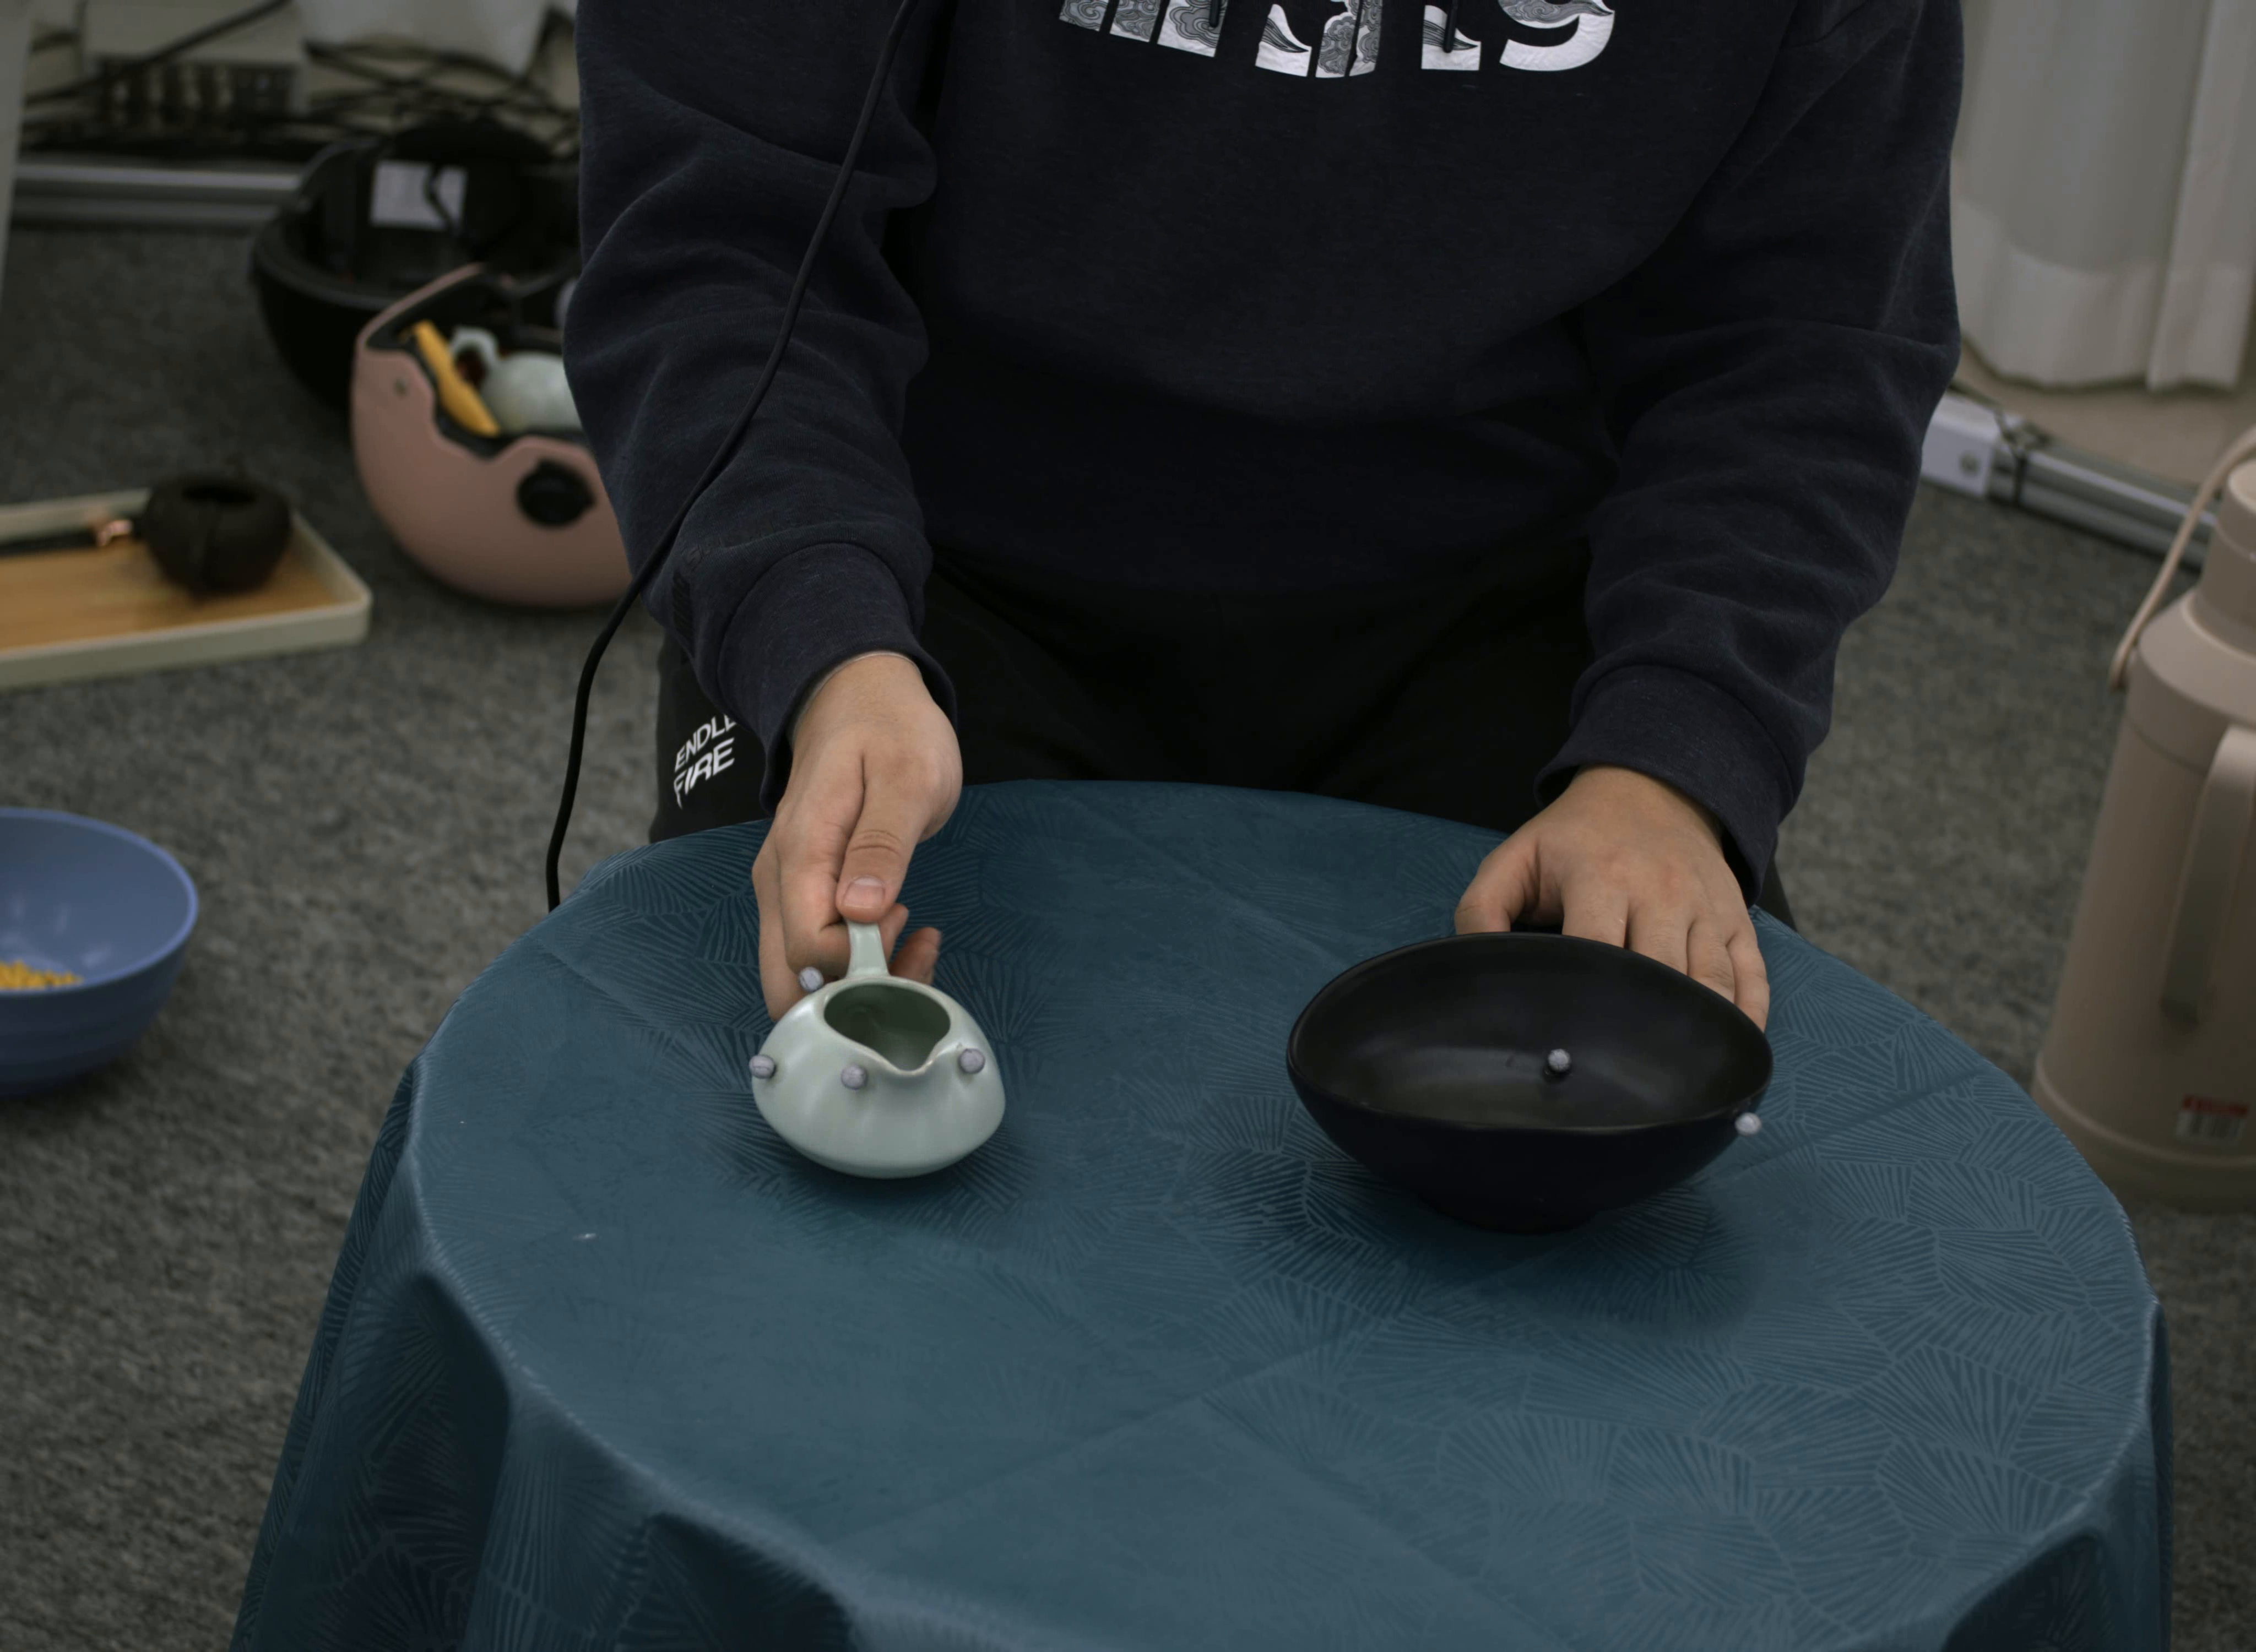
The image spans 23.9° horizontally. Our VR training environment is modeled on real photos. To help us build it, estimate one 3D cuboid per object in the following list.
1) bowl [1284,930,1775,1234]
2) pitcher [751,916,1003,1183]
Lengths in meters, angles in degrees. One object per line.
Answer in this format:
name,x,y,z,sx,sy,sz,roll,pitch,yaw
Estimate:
bowl,0.136,0.097,1.823,0.169,0.066,0.138,-2,27,-15
pitcher,-0.087,0.078,1.810,0.085,0.060,0.109,0,30,-16
